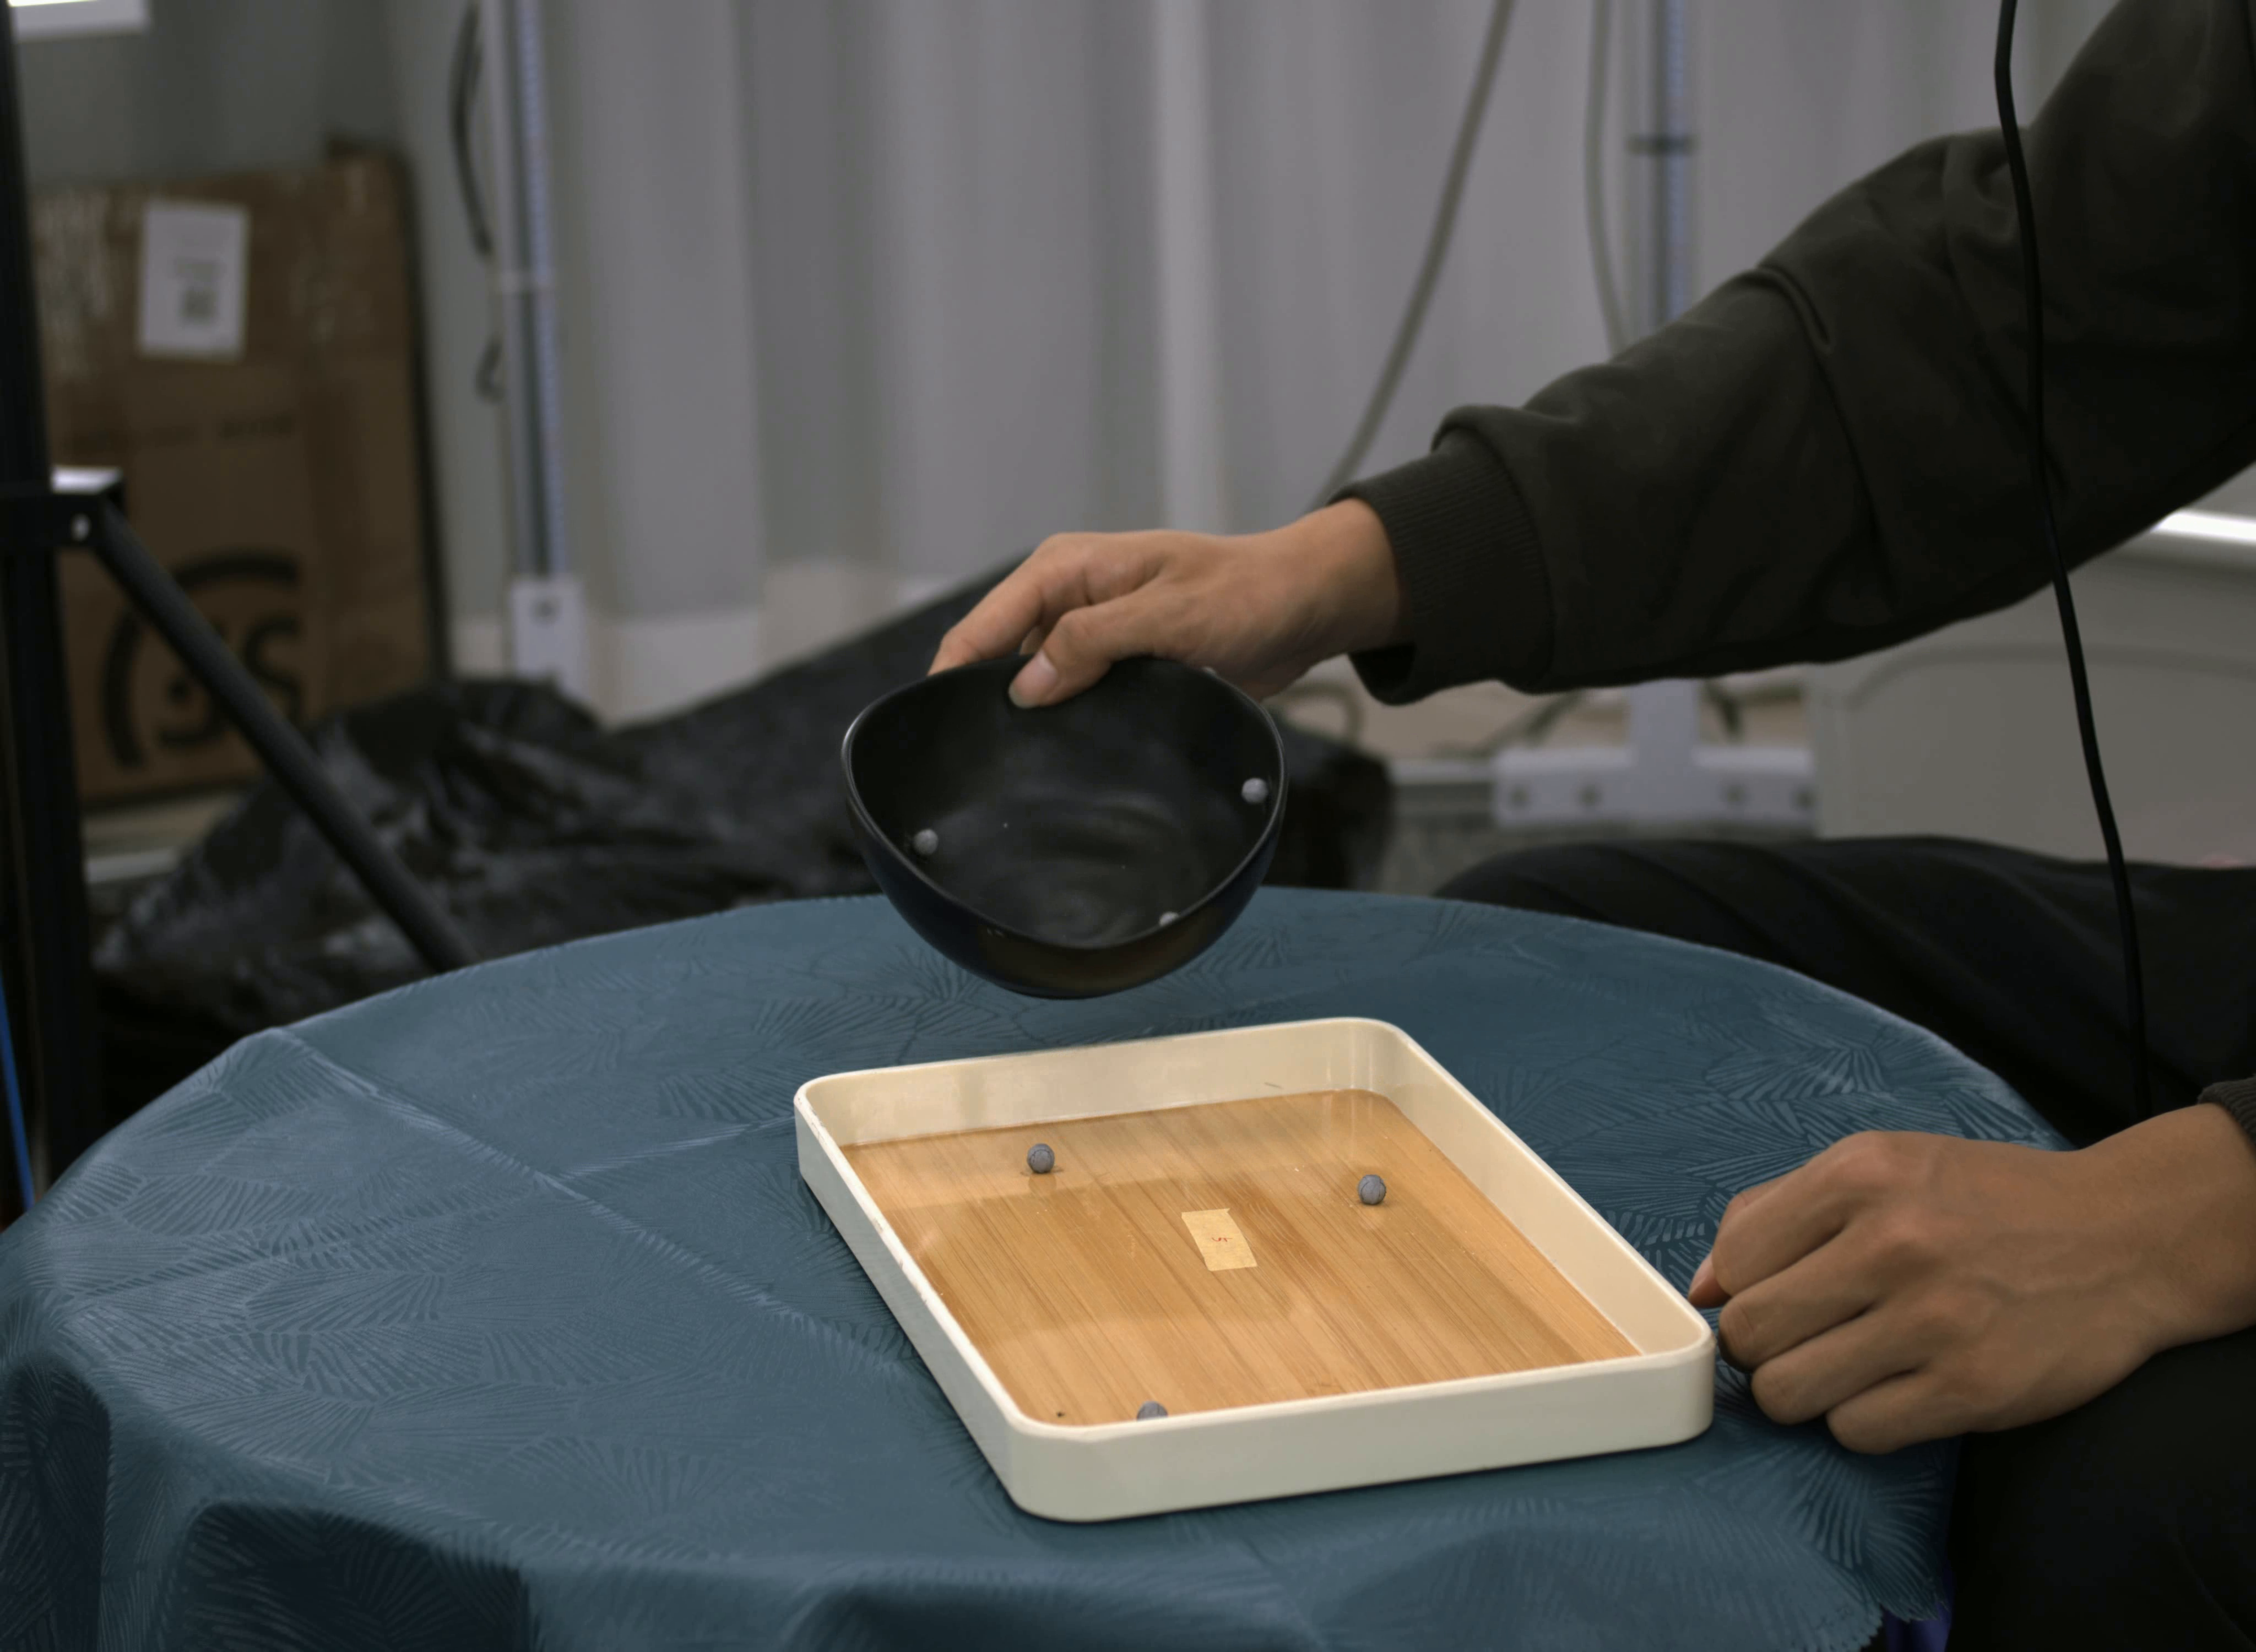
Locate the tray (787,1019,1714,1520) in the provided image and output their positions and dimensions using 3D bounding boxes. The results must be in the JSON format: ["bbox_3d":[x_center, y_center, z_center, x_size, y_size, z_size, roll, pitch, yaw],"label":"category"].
[{"bbox_3d":[0.025,0.117,1.476,0.189,0.027,0.304,-6,16,-13],"label":"tray"}]

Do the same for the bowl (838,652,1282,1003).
[{"bbox_3d":[-0.019,0.009,1.653,0.136,0.066,0.173,-8,31,-6],"label":"bowl"}]
